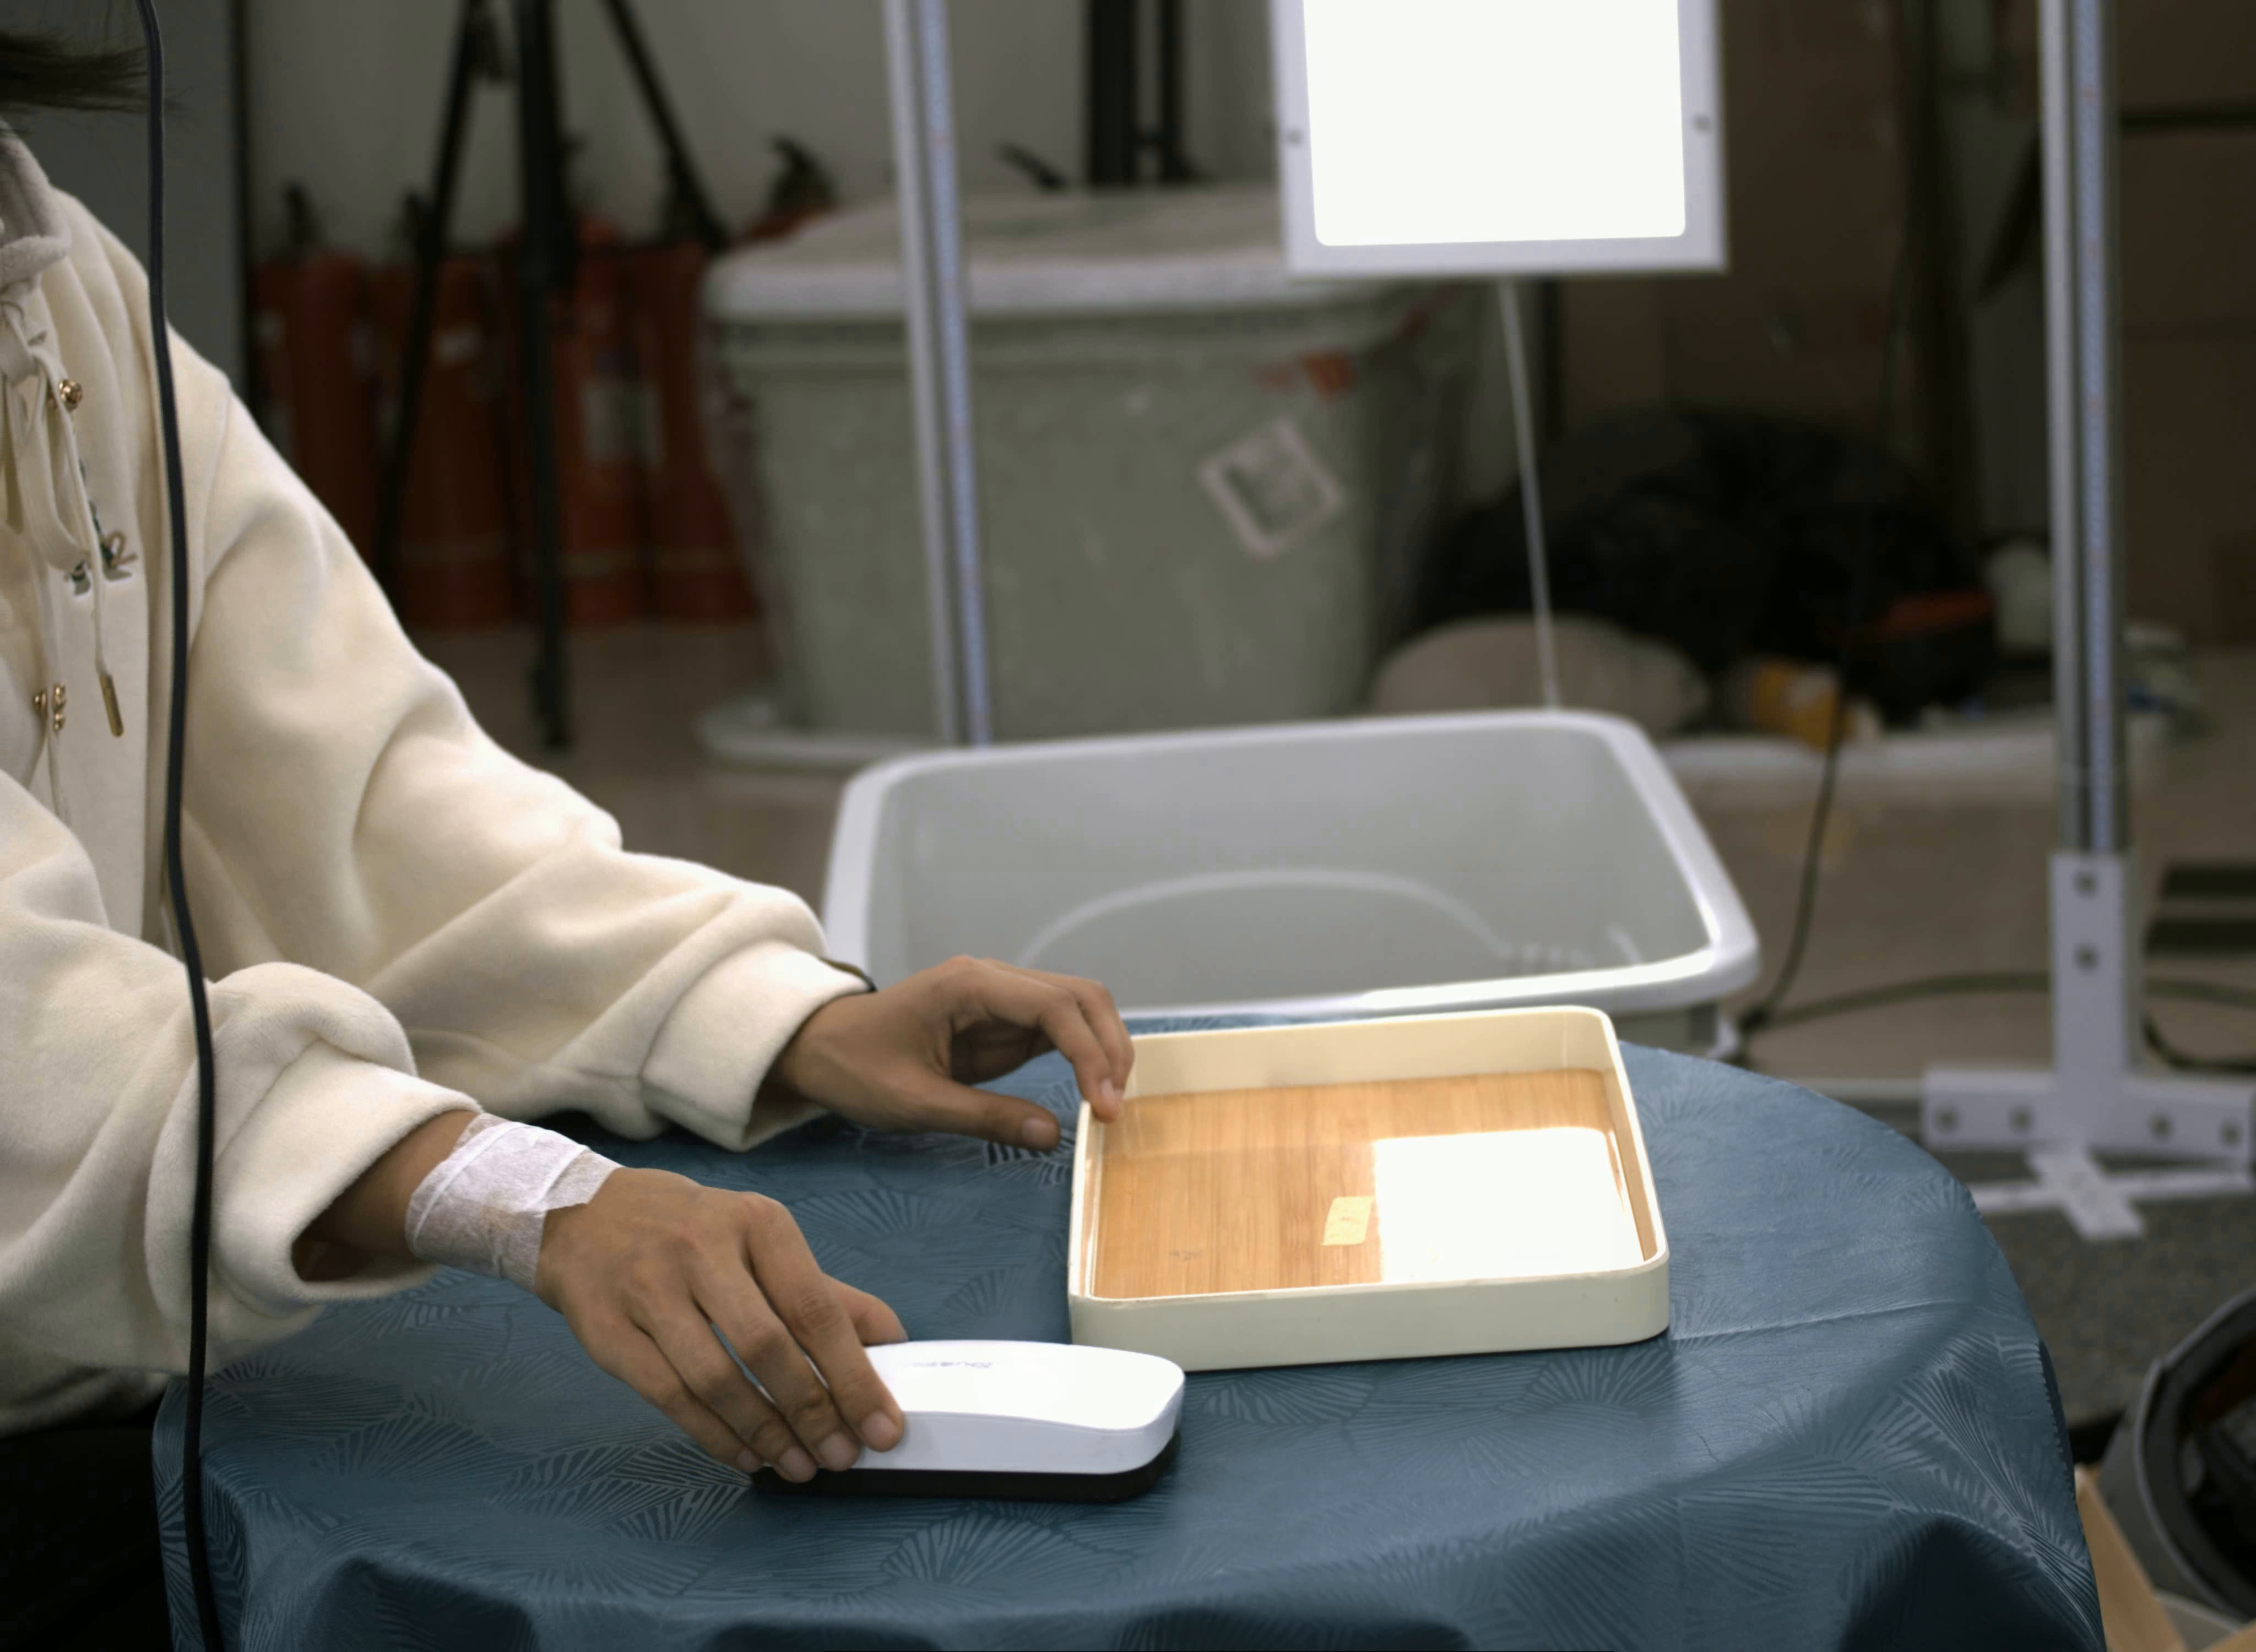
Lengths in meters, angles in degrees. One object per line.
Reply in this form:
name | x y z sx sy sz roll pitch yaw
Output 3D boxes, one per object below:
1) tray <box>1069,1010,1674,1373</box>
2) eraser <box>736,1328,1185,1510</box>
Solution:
tray | 0.079 0.119 1.844 0.192 0.027 0.299 -4 14 3
eraser | -0.049 0.177 1.644 0.133 0.034 0.062 0 16 20
